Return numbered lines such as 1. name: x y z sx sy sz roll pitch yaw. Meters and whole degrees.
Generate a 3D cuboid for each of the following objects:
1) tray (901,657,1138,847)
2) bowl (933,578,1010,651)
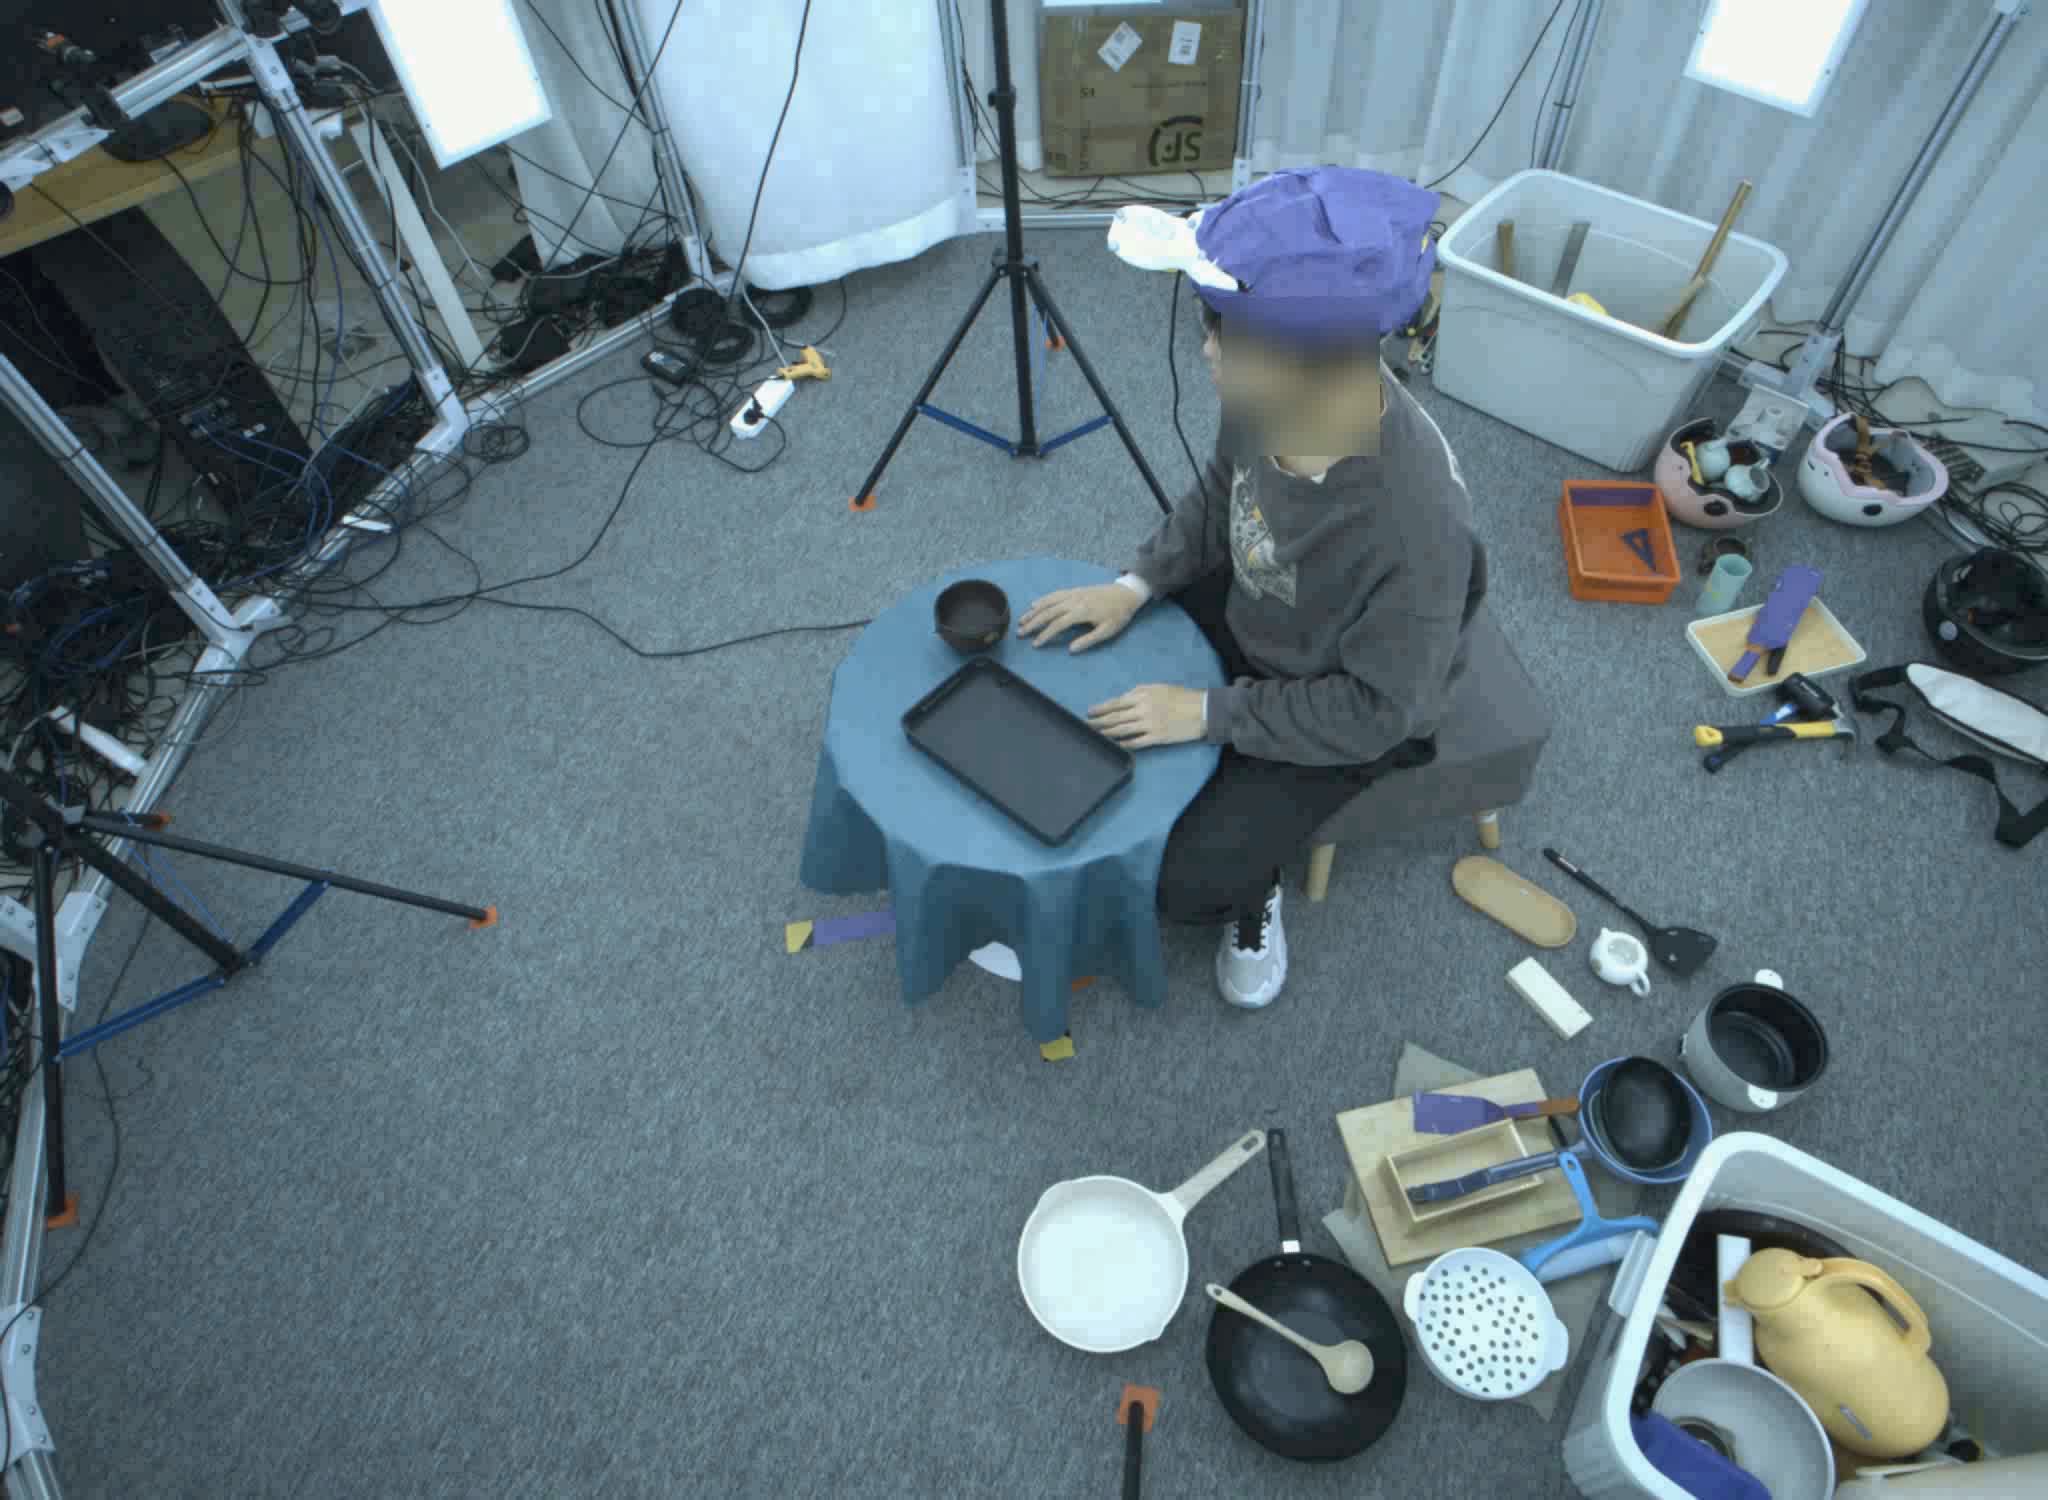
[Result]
1. tray: -0.008 -0.002 1.765 0.312 0.037 0.185 34 61 24
2. bowl: -0.079 -0.201 1.887 0.118 0.070 0.117 0 54 1
